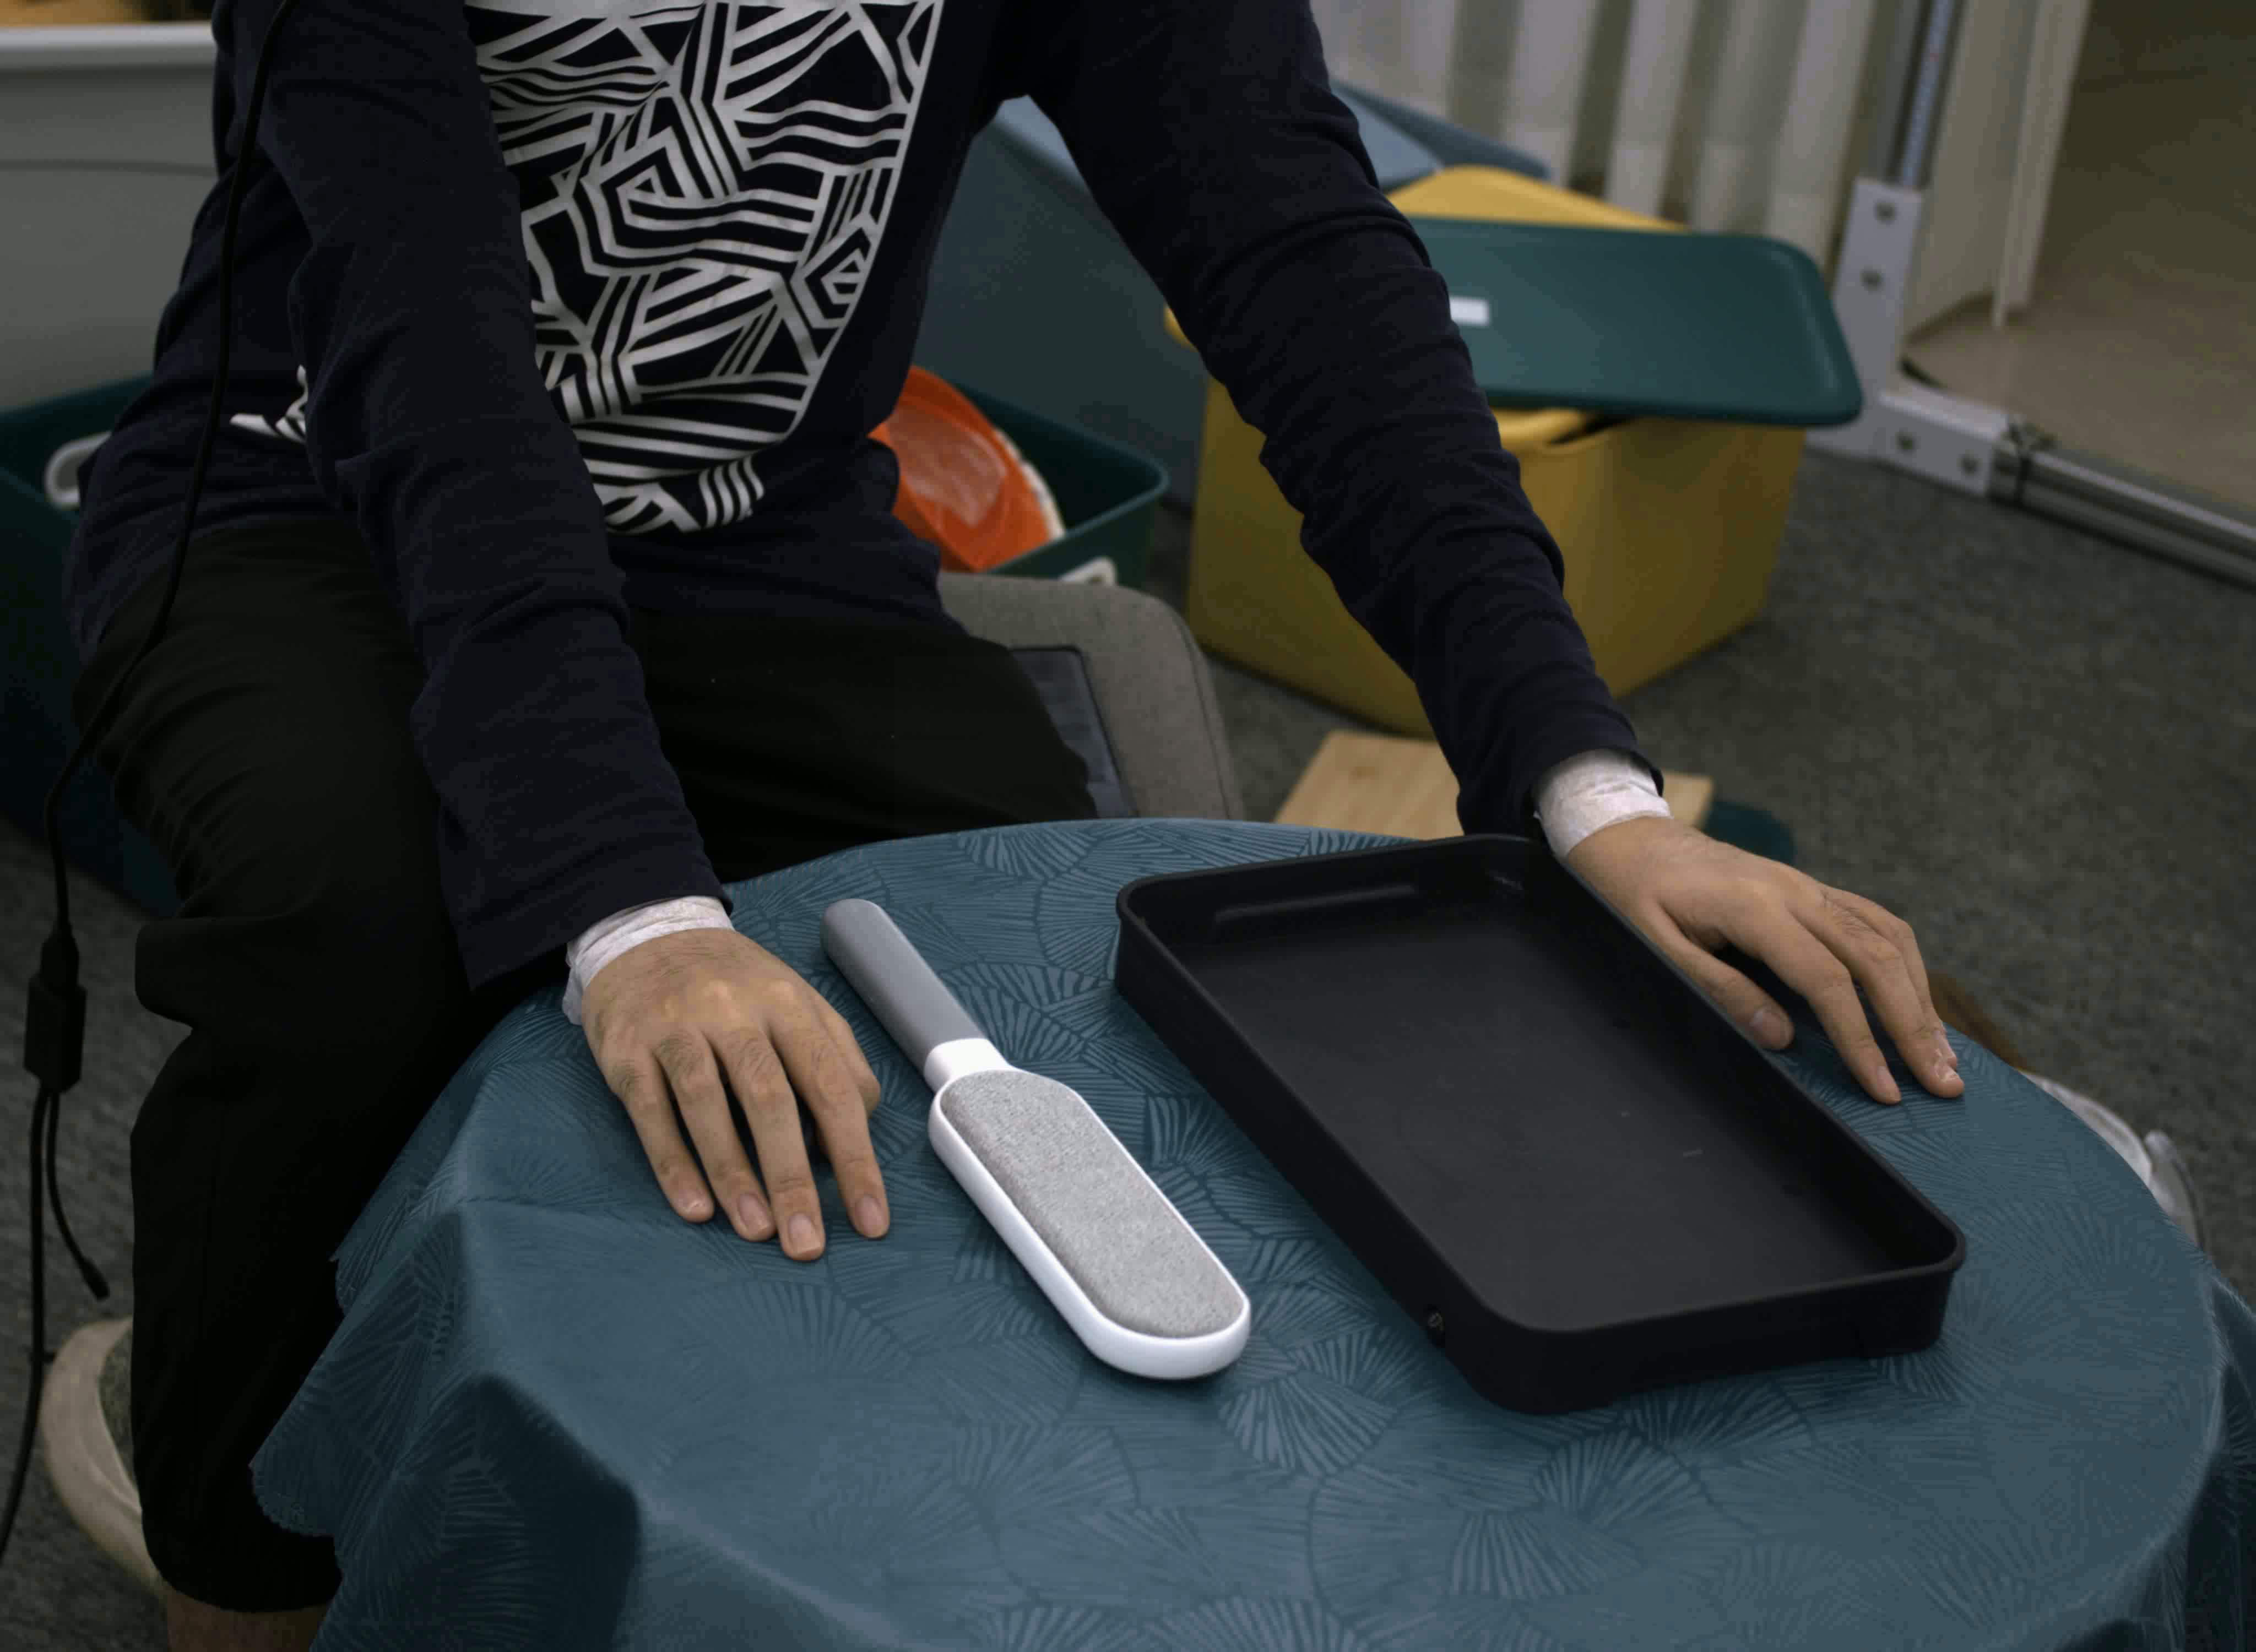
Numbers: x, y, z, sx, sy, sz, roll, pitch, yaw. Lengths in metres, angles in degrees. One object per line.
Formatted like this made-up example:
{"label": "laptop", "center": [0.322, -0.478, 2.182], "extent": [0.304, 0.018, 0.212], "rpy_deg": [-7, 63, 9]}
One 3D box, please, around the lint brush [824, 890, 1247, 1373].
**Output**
{"label": "lint brush", "center": [-0.039, 0.099, 1.816], "extent": [0.060, 0.021, 0.312], "rpy_deg": [-11, 31, -21]}

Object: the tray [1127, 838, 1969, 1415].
{"label": "tray", "center": [0.137, 0.098, 1.850], "extent": [0.183, 0.037, 0.321], "rpy_deg": [-6, 29, -24]}
